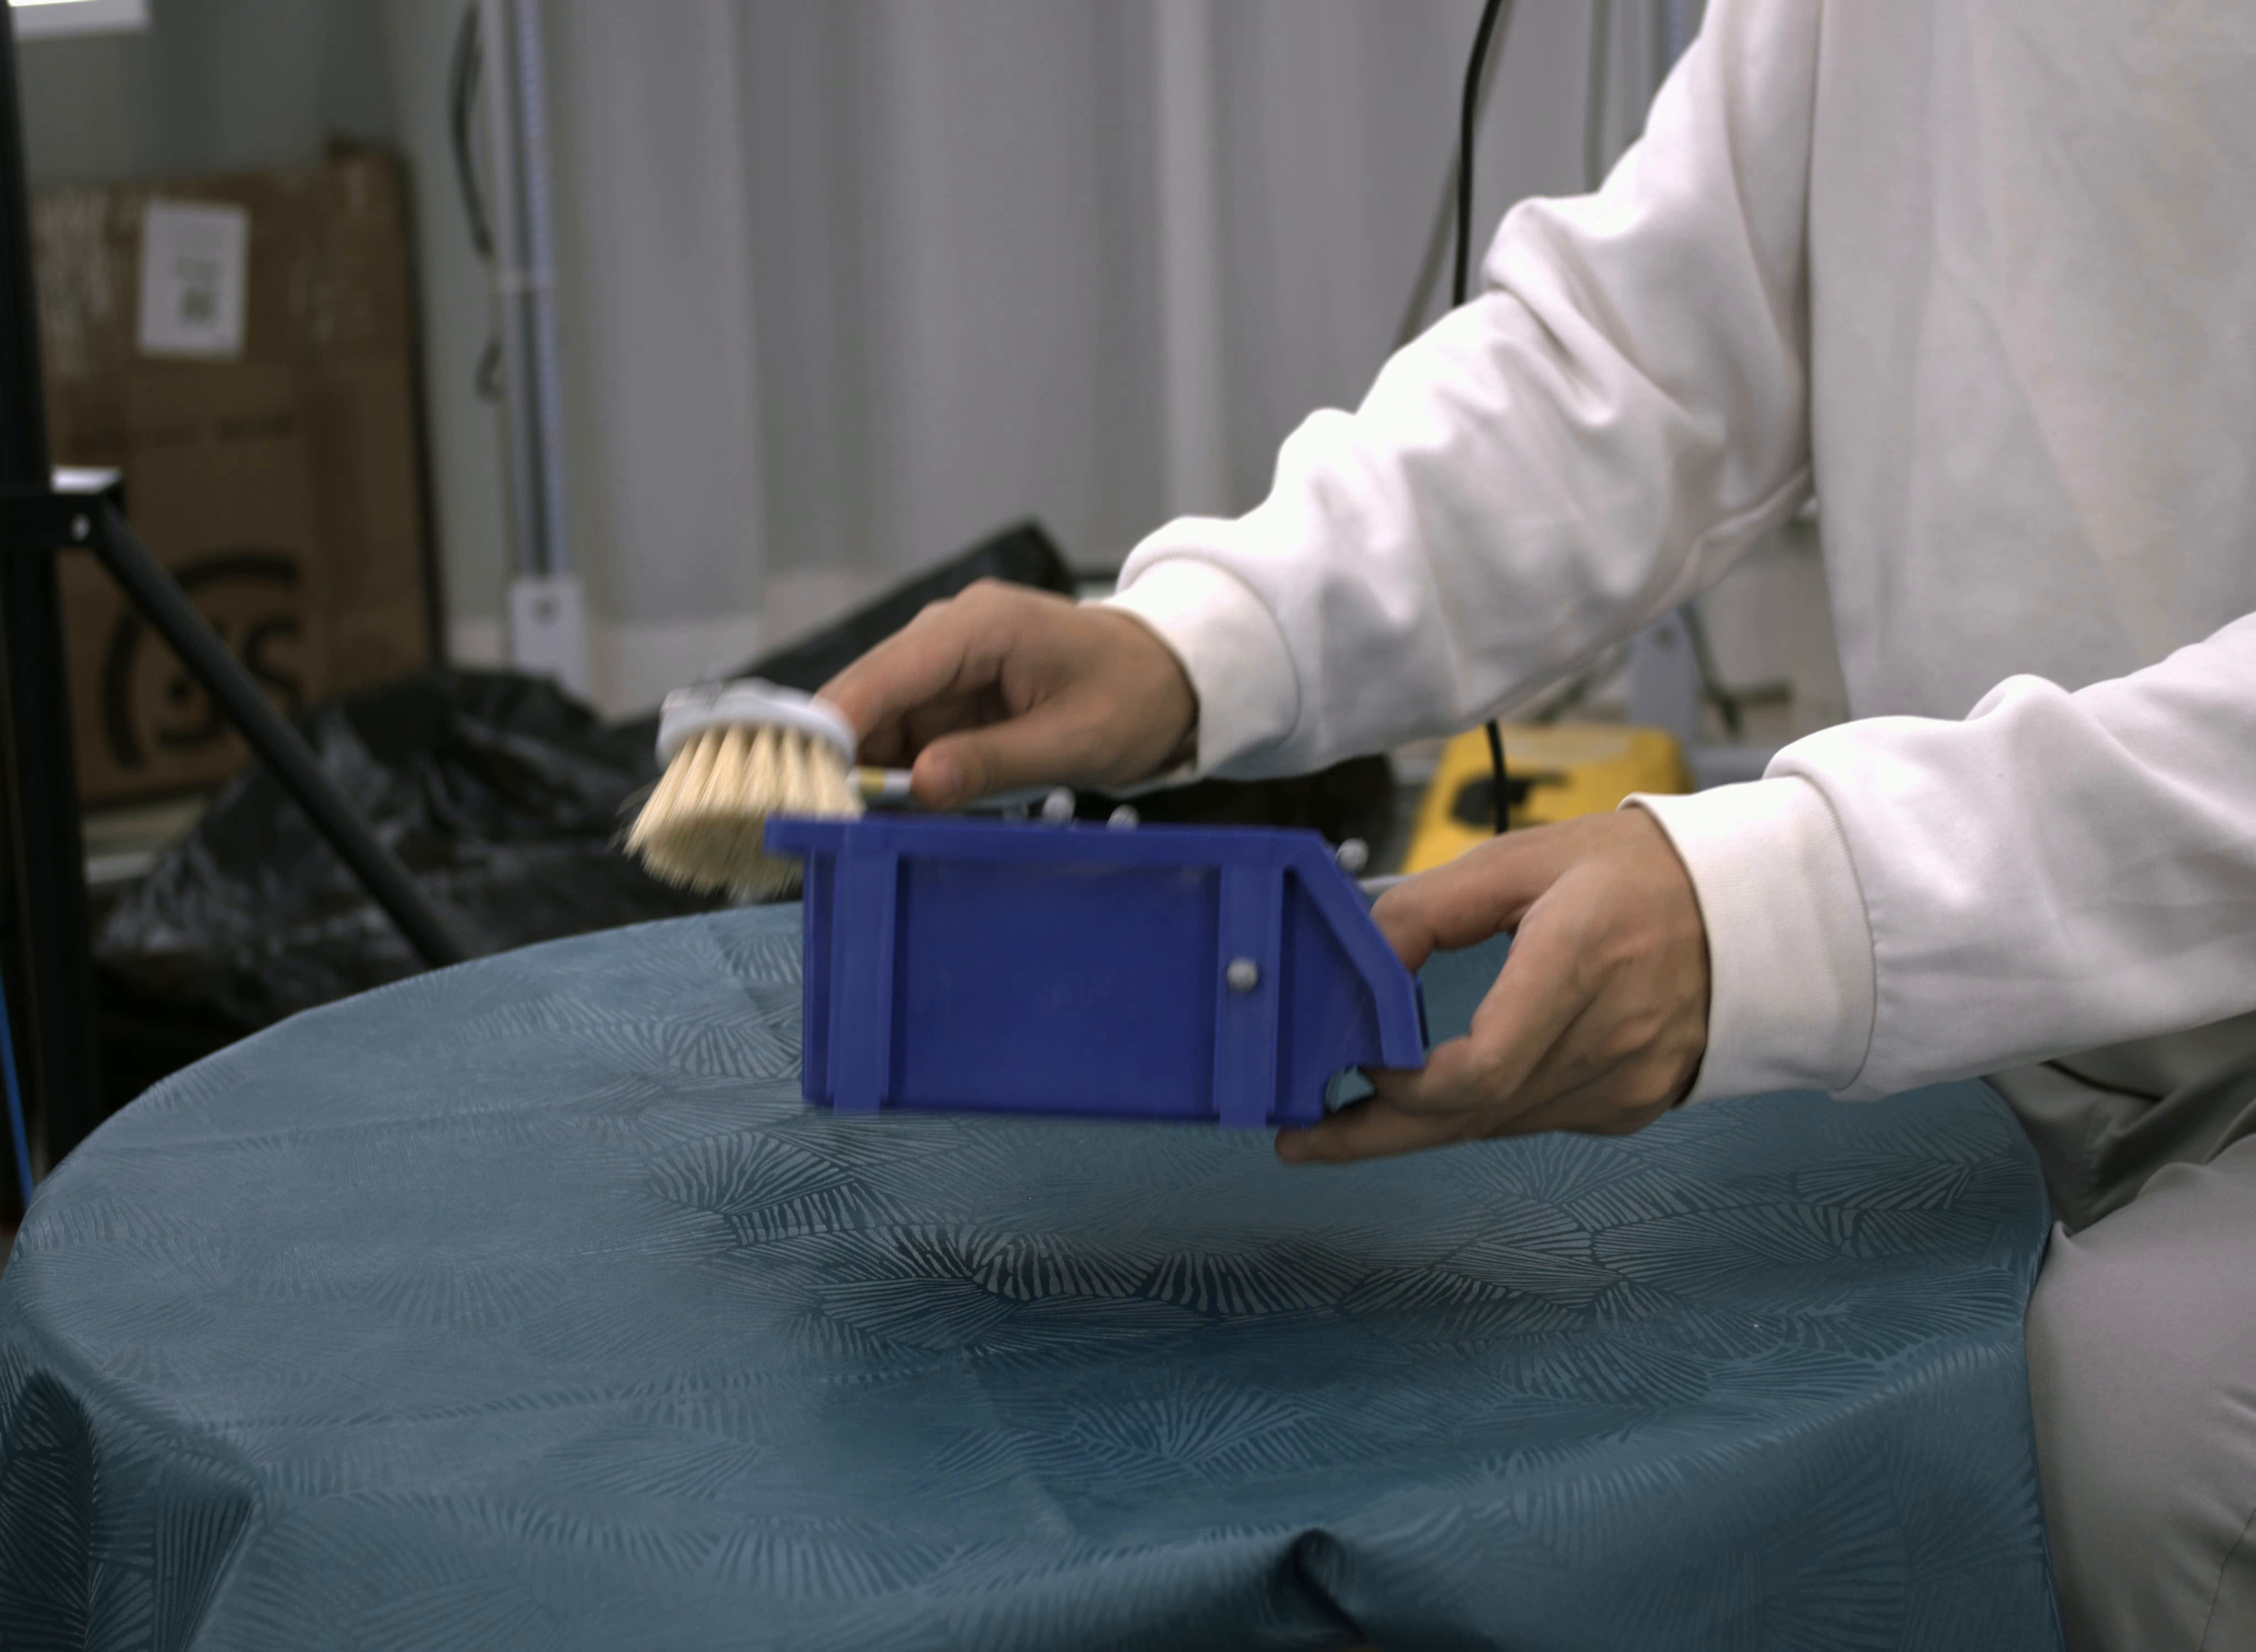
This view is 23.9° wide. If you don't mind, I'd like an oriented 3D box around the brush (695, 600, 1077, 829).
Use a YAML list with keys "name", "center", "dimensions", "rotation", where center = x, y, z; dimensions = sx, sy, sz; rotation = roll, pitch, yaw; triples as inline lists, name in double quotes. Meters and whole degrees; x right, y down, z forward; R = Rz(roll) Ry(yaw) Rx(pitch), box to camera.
- name: "brush"
  center: [-0.065, -0.012, 1.688]
  dimensions: [0.069, 0.056, 0.262]
  rotation: [8, -10, 17]

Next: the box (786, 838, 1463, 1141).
- name: "box"
  center: [0.003, 0.046, 1.475]
  dimensions: [0.179, 0.082, 0.123]
  rotation: [-1, -3, 6]
